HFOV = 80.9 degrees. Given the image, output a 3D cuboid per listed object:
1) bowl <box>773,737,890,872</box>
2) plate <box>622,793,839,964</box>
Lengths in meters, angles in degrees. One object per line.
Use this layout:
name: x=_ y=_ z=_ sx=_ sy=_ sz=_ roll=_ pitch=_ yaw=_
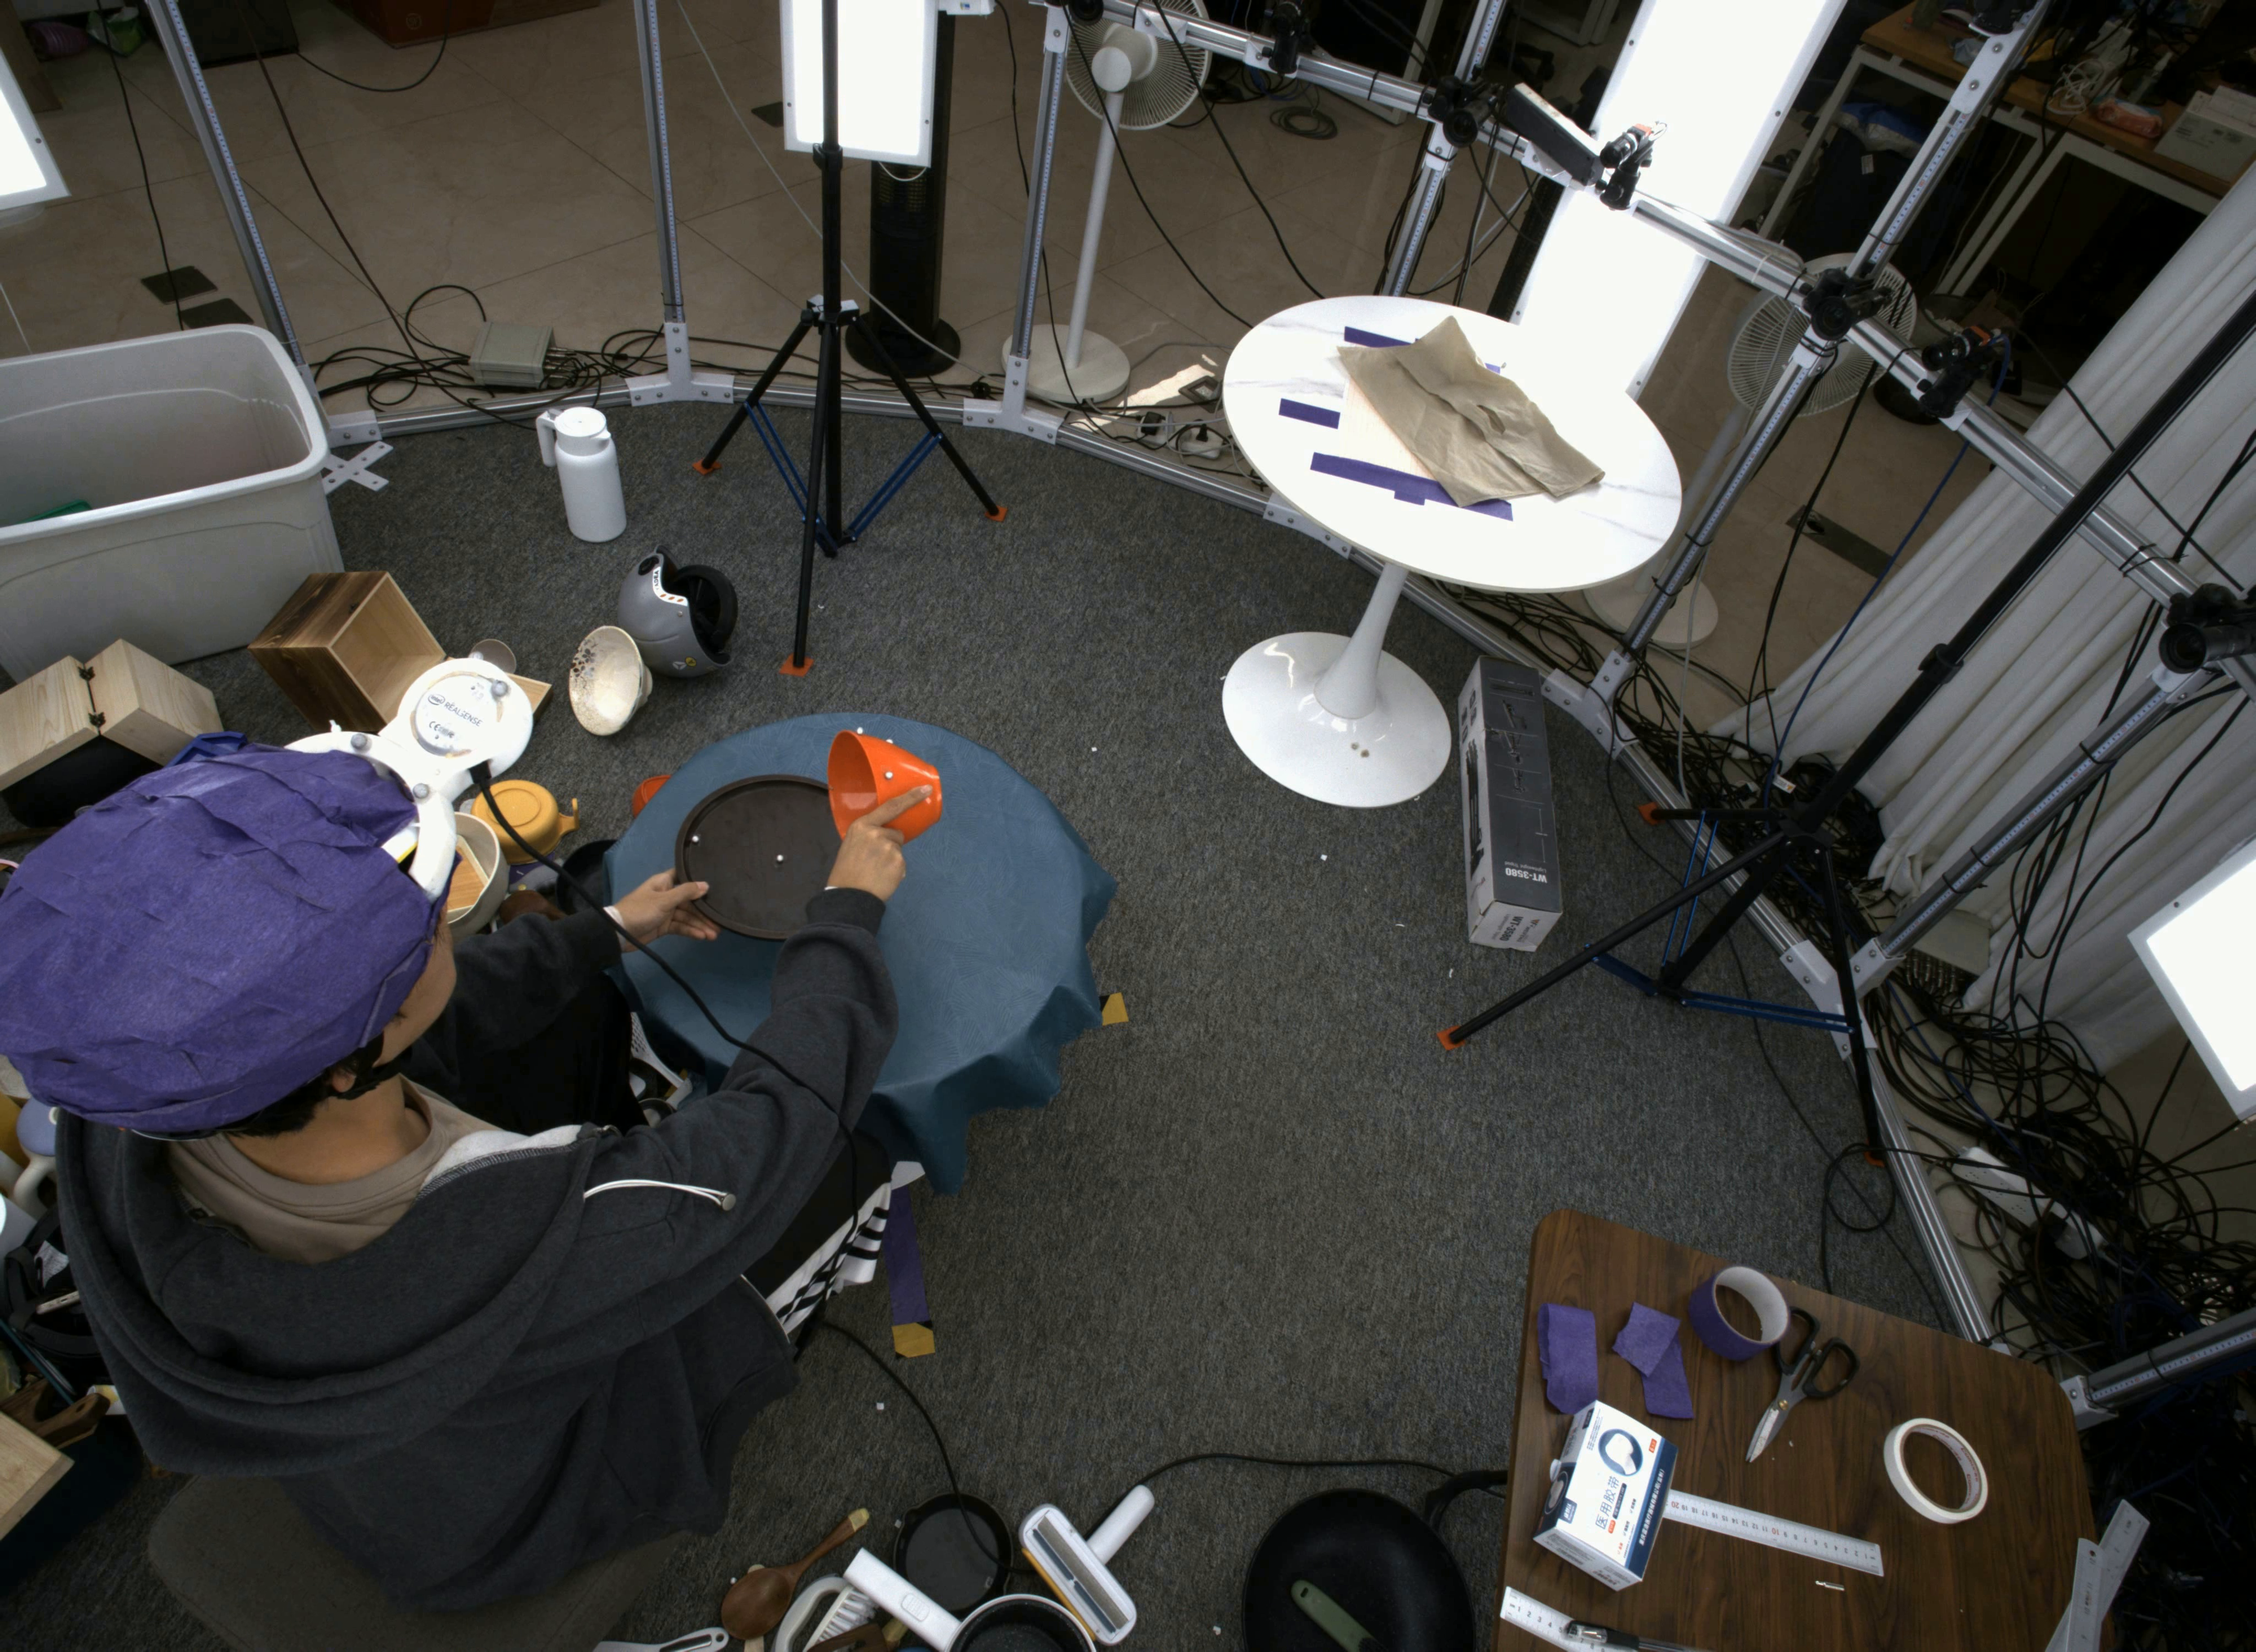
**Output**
bowl: x=-0.329 y=-0.028 z=1.452 sx=0.105 sy=0.150 sz=0.144 roll=-7 pitch=54 yaw=-27
plate: x=-0.476 y=0.059 z=1.549 sx=0.255 sy=0.029 sz=0.250 roll=11 pitch=50 yaw=-12
